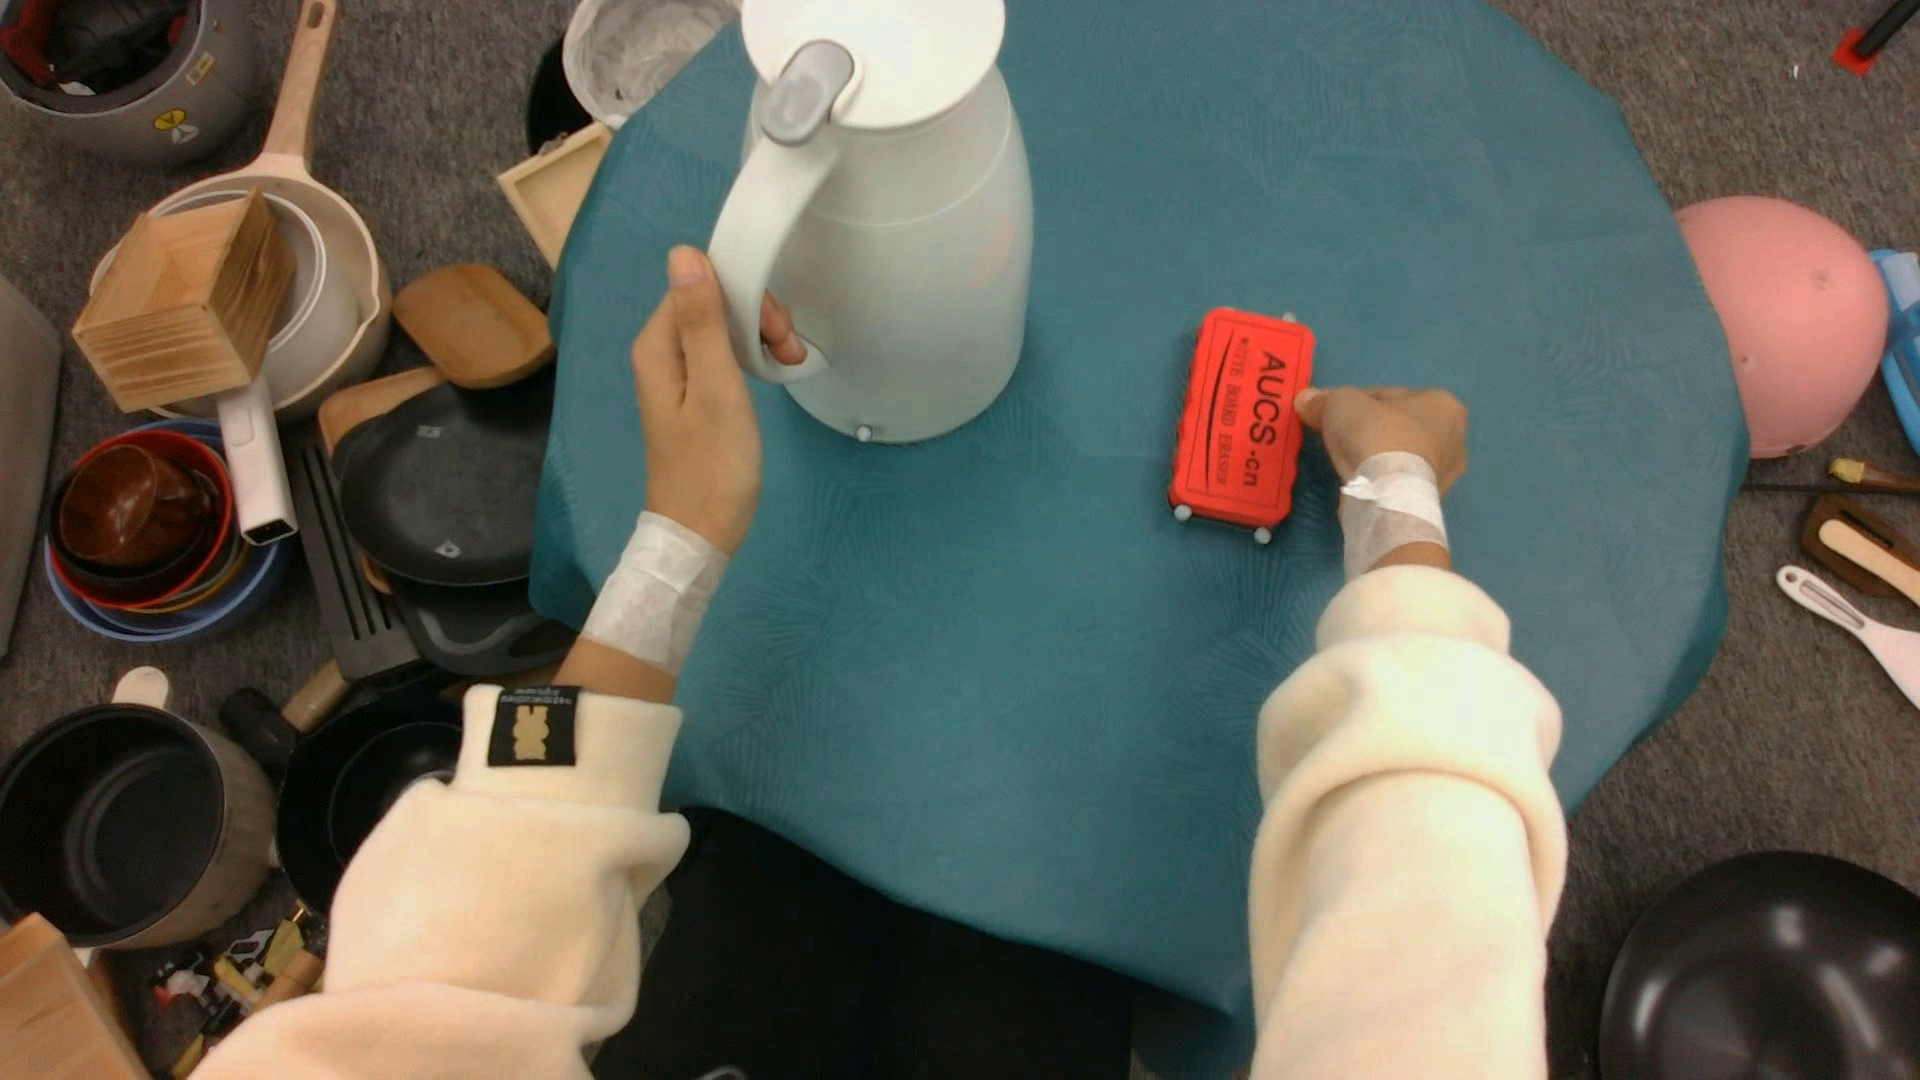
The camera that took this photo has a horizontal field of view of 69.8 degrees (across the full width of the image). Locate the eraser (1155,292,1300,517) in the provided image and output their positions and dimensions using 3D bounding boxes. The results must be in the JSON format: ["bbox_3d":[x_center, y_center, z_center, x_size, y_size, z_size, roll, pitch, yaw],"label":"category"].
[{"bbox_3d":[0.133,-0.068,0.684,0.059,0.023,0.108,12,71,1],"label":"eraser"}]

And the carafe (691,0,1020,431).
[{"bbox_3d":[-0.047,-0.137,0.583,0.132,0.248,0.168,33,75,8],"label":"carafe"}]
